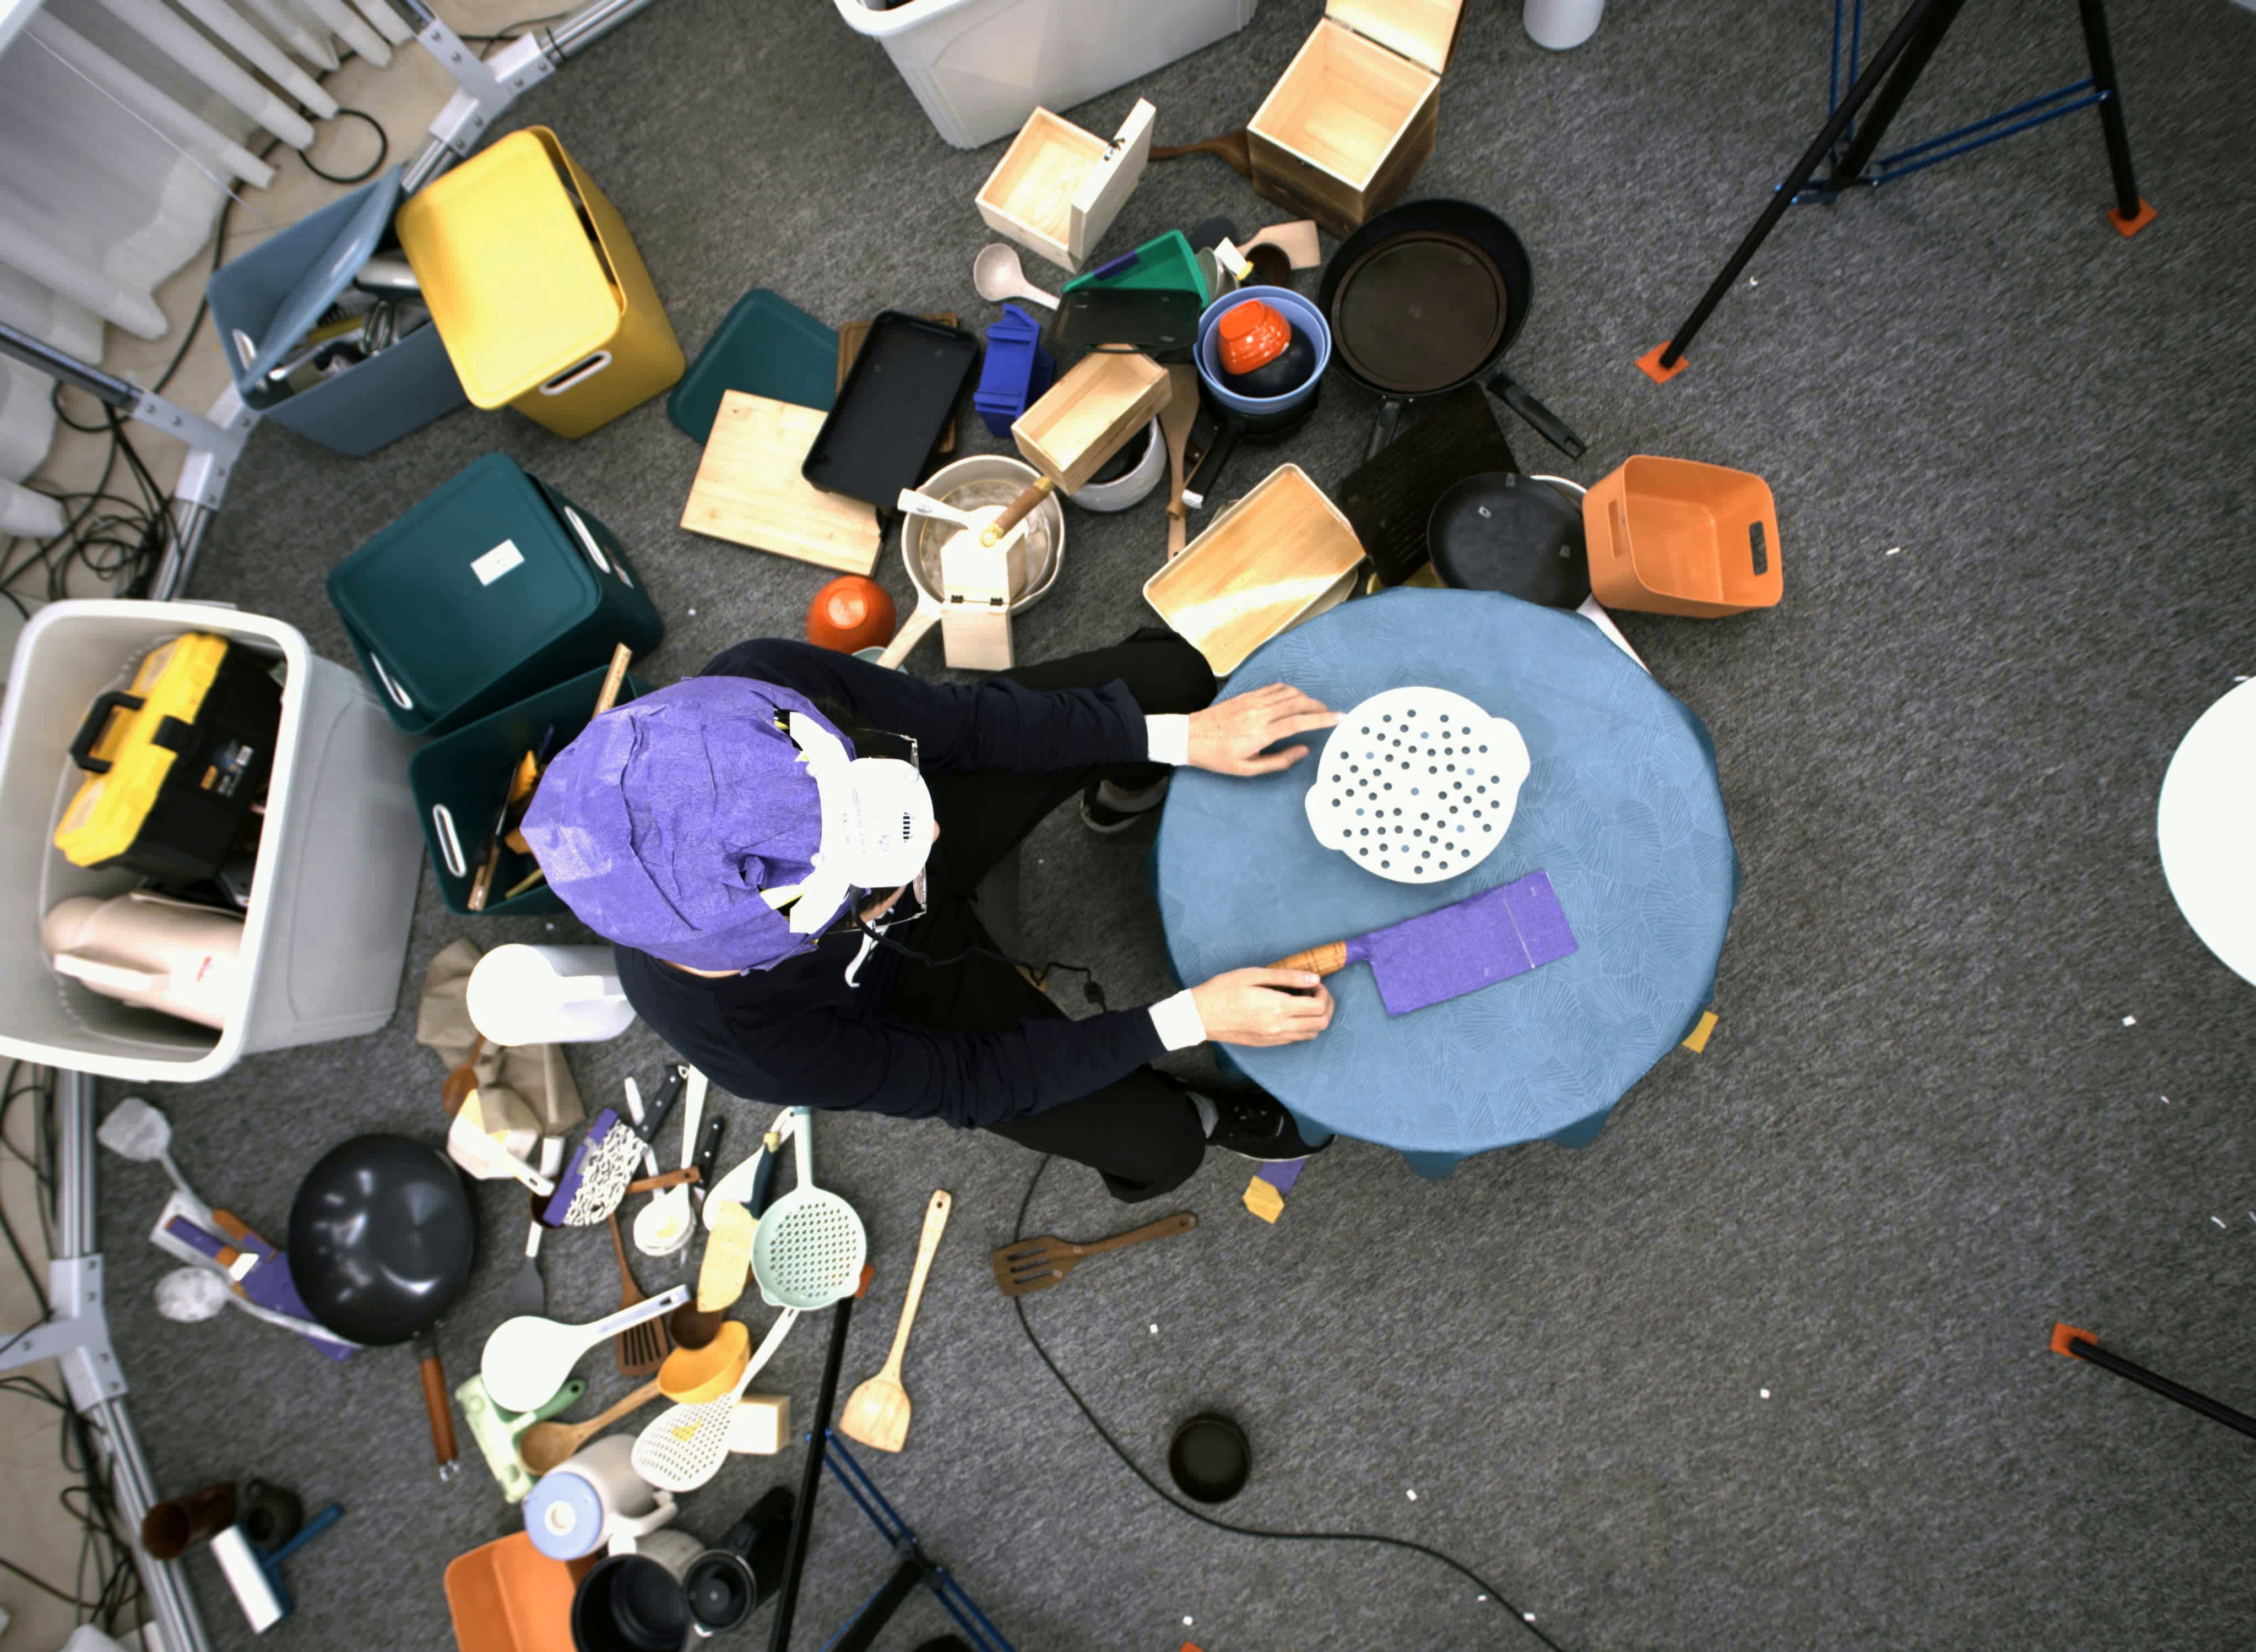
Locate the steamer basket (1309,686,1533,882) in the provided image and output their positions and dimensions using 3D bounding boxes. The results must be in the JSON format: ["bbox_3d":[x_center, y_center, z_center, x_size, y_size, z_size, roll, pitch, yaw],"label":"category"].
[{"bbox_3d":[0.303,-0.043,1.427,0.232,0.069,0.200,-21,82,12],"label":"steamer basket"}]

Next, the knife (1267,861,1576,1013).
[{"bbox_3d":[0.306,0.136,1.436,0.317,0.032,0.103,-22,82,8],"label":"knife"}]
